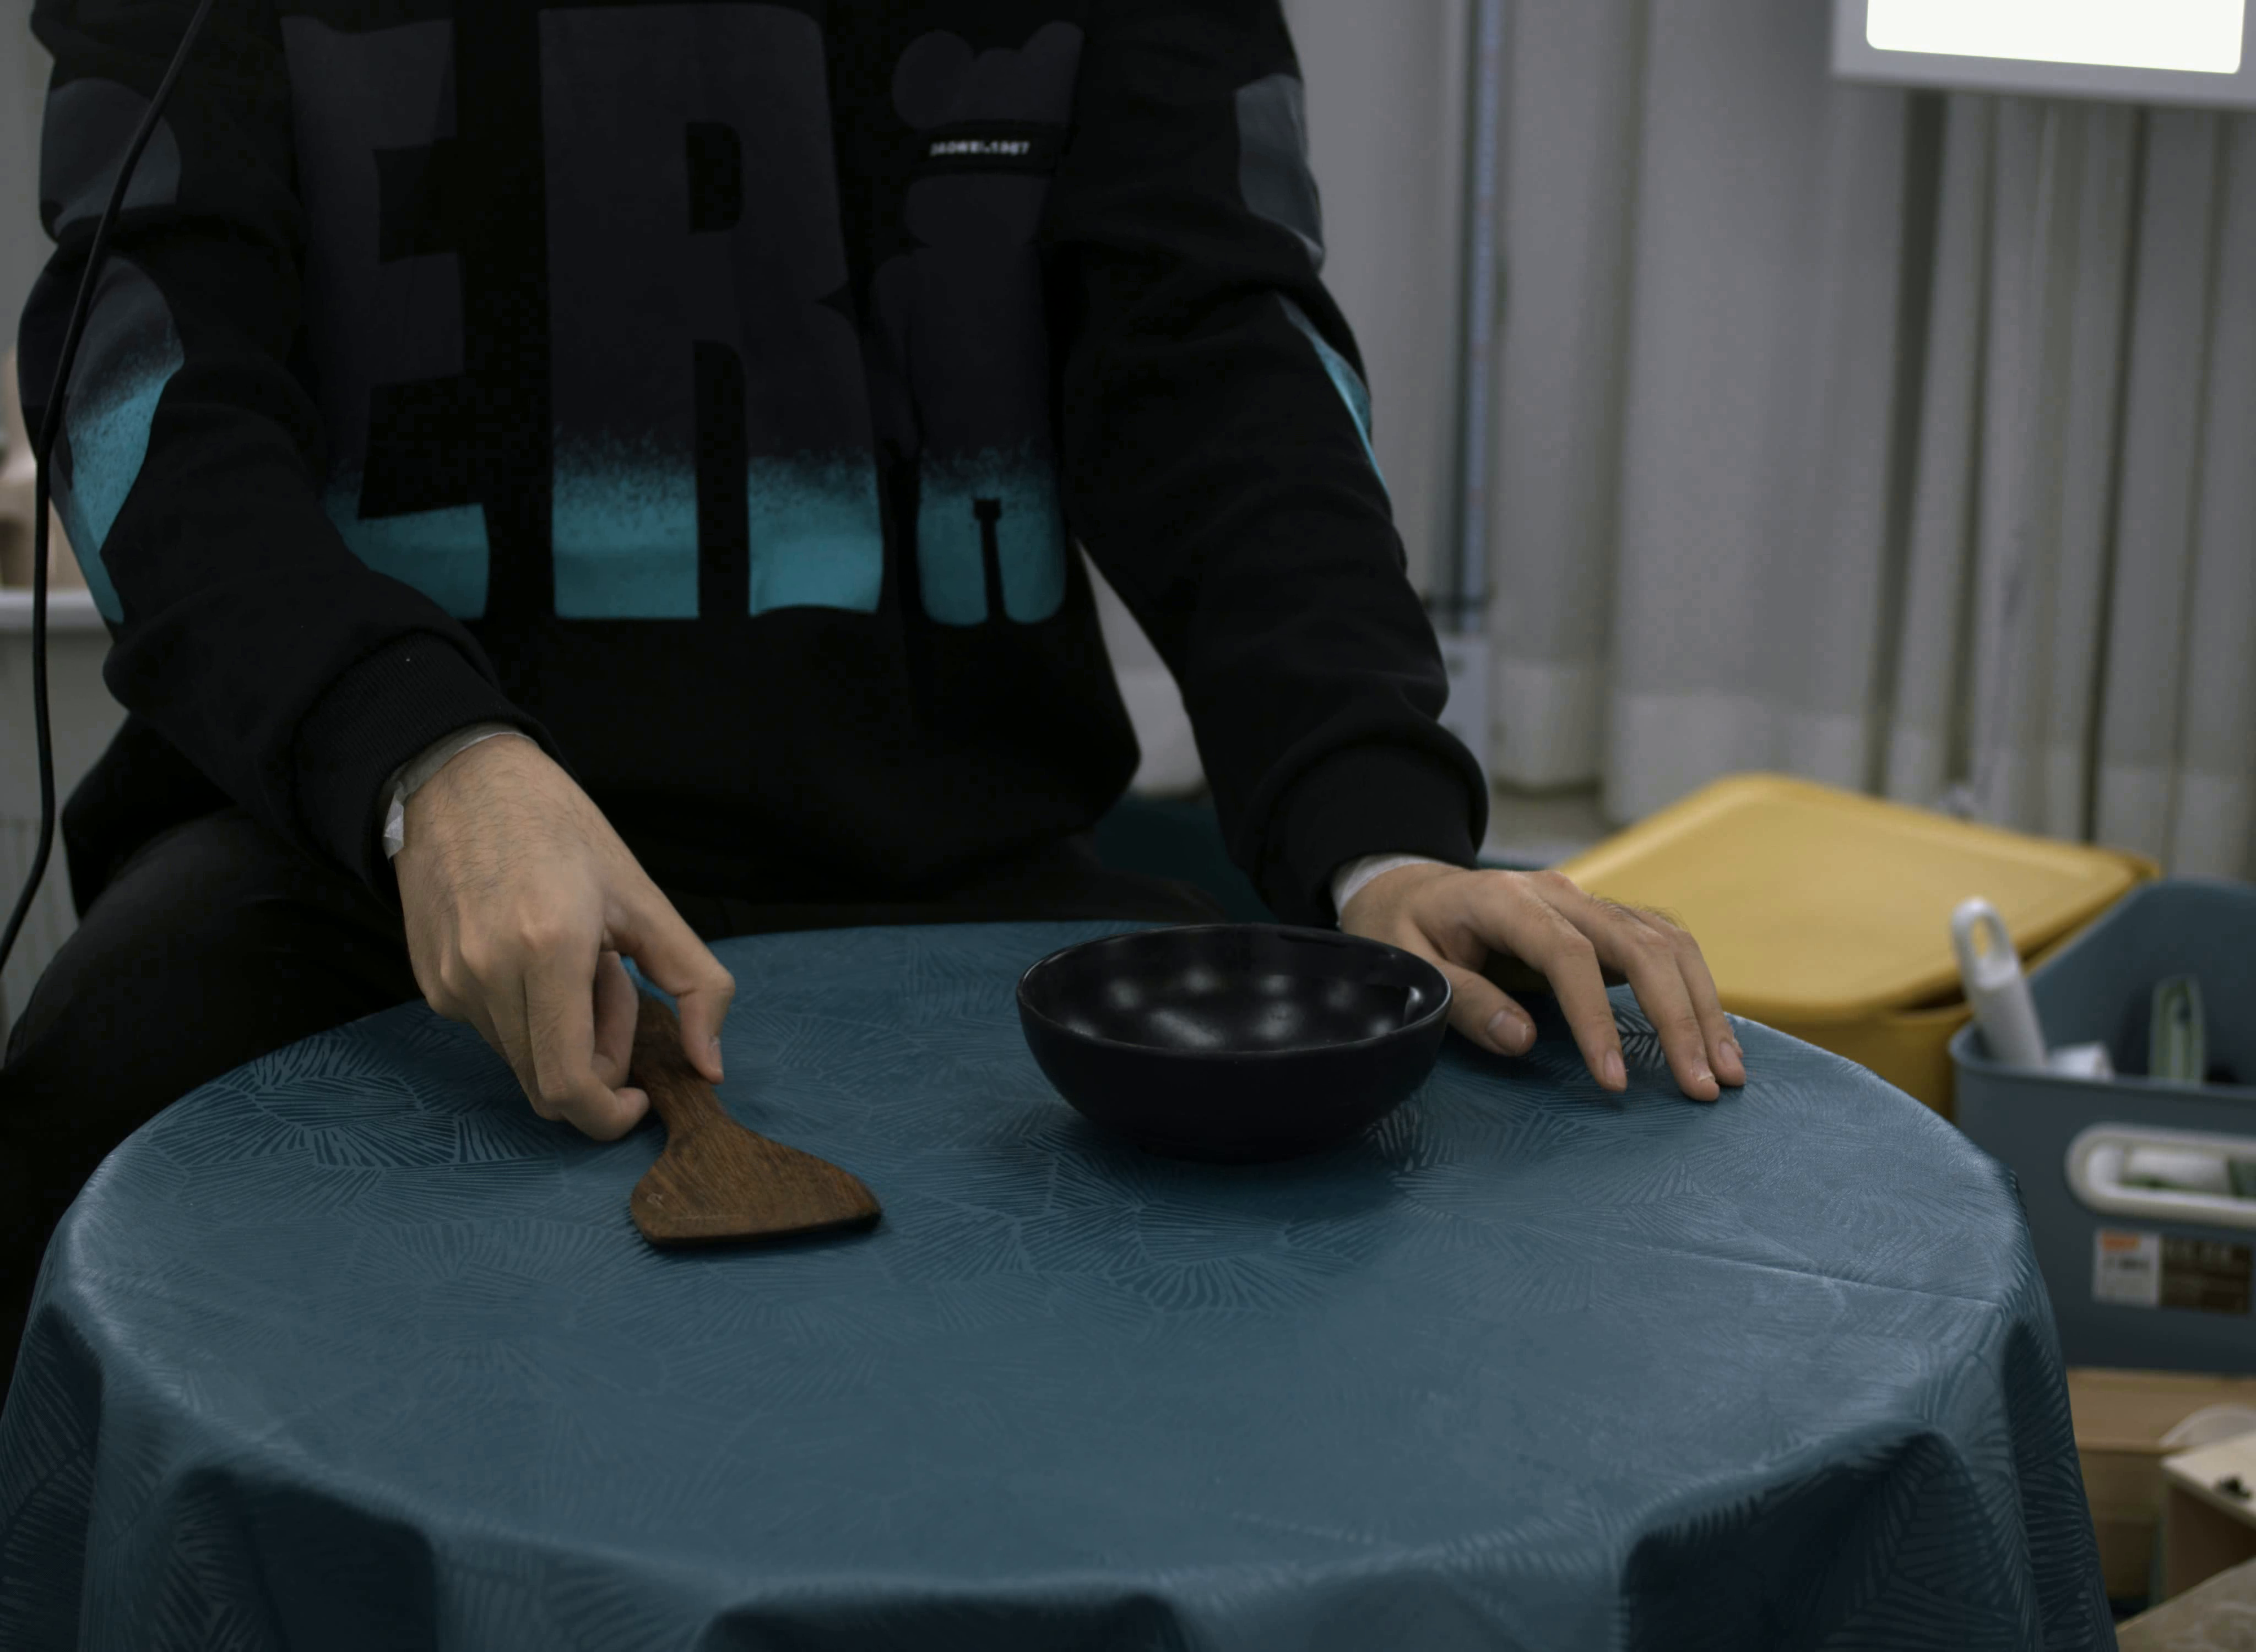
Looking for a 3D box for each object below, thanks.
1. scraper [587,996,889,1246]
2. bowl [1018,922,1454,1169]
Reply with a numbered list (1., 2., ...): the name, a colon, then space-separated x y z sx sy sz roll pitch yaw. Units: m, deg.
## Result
1. scraper: -0.136 0.092 1.664 0.076 0.011 0.209 -4 20 -18
2. bowl: 0.035 0.074 1.676 0.139 0.050 0.139 -2 16 1
